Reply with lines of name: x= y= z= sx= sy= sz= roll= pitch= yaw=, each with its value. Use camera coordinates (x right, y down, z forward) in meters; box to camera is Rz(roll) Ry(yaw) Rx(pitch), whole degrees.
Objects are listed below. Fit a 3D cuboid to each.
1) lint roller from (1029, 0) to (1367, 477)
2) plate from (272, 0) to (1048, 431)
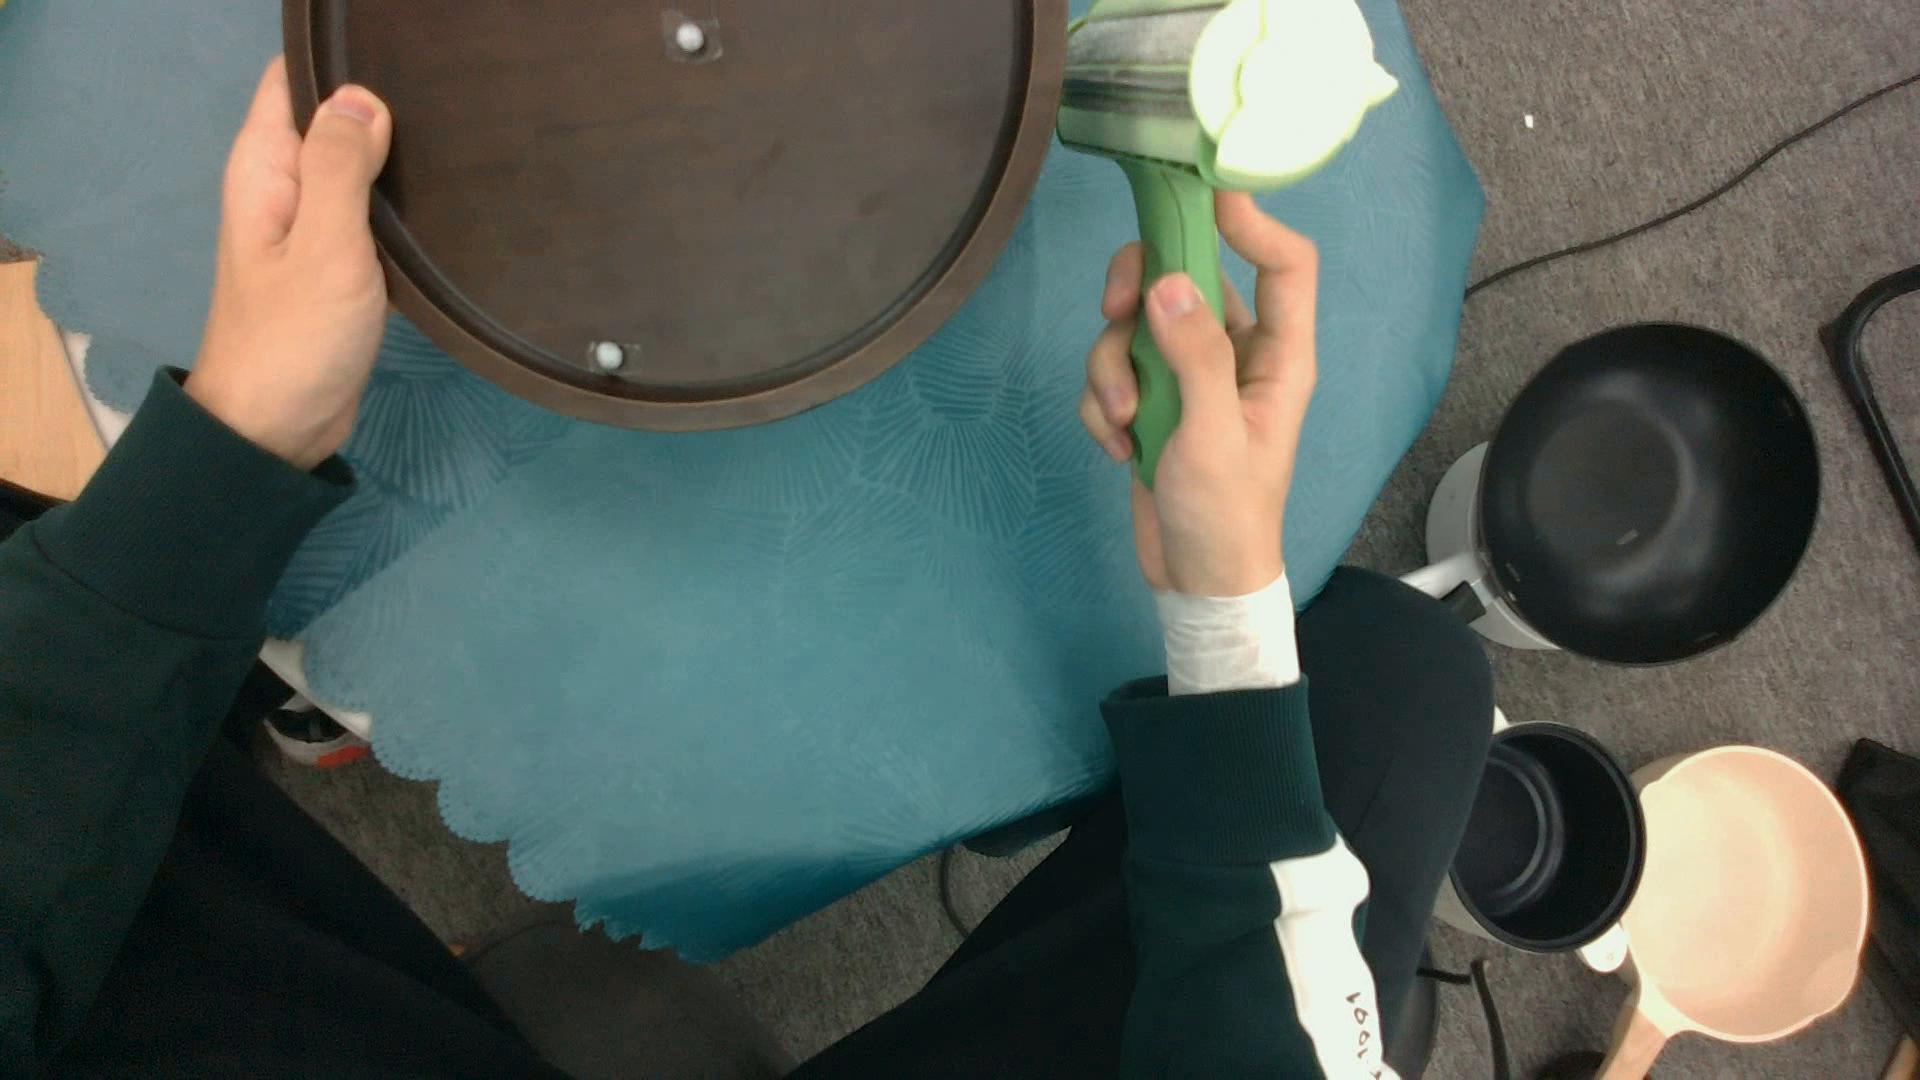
lint roller: x=0.084 y=-0.115 z=0.488 sx=0.082 sy=0.199 sz=0.183 roll=-16 pitch=112 yaw=-5
plate: x=-0.098 y=-0.163 z=0.445 sx=0.255 sy=0.029 sz=0.254 roll=0 pitch=96 yaw=3
